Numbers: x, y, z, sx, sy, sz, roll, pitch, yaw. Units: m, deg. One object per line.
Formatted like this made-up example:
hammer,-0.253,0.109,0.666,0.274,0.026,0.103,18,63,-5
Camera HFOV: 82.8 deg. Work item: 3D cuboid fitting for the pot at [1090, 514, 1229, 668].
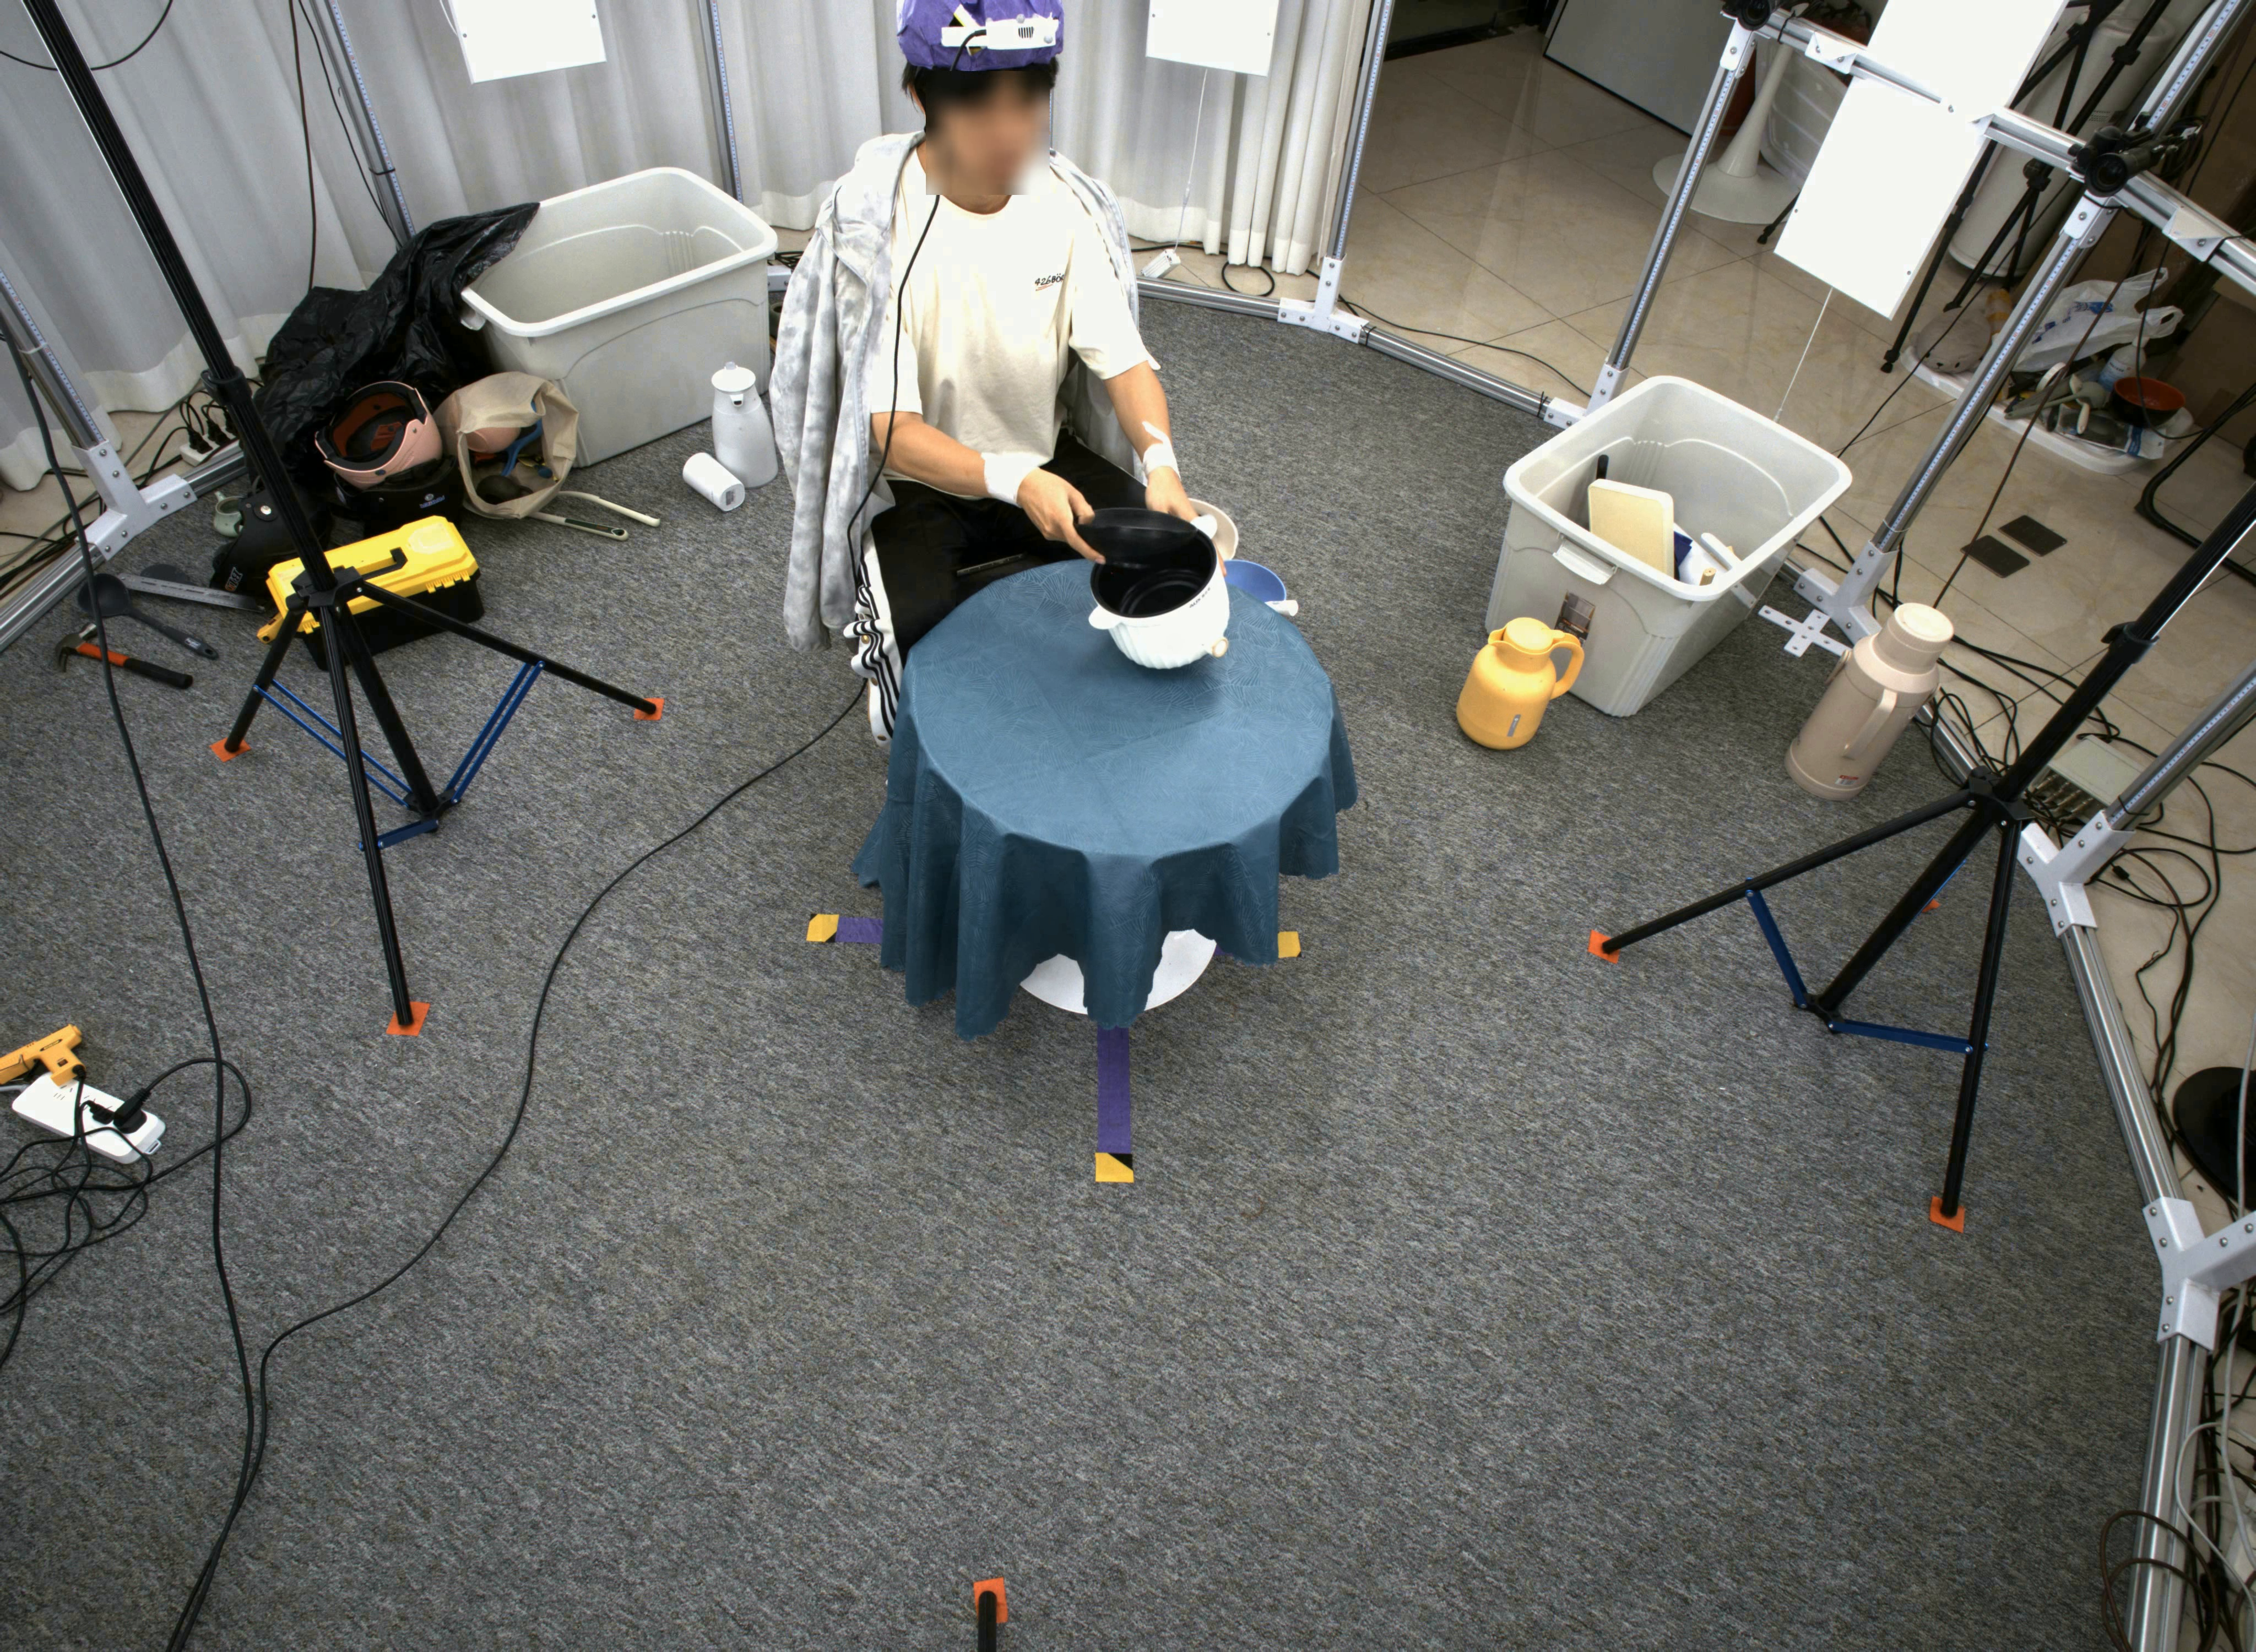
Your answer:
pot,0.057,-0.320,1.828,0.242,0.139,0.193,-45,49,-15

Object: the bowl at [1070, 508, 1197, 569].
bowl,0.007,-0.386,1.741,0.170,0.065,0.140,3,22,-6
